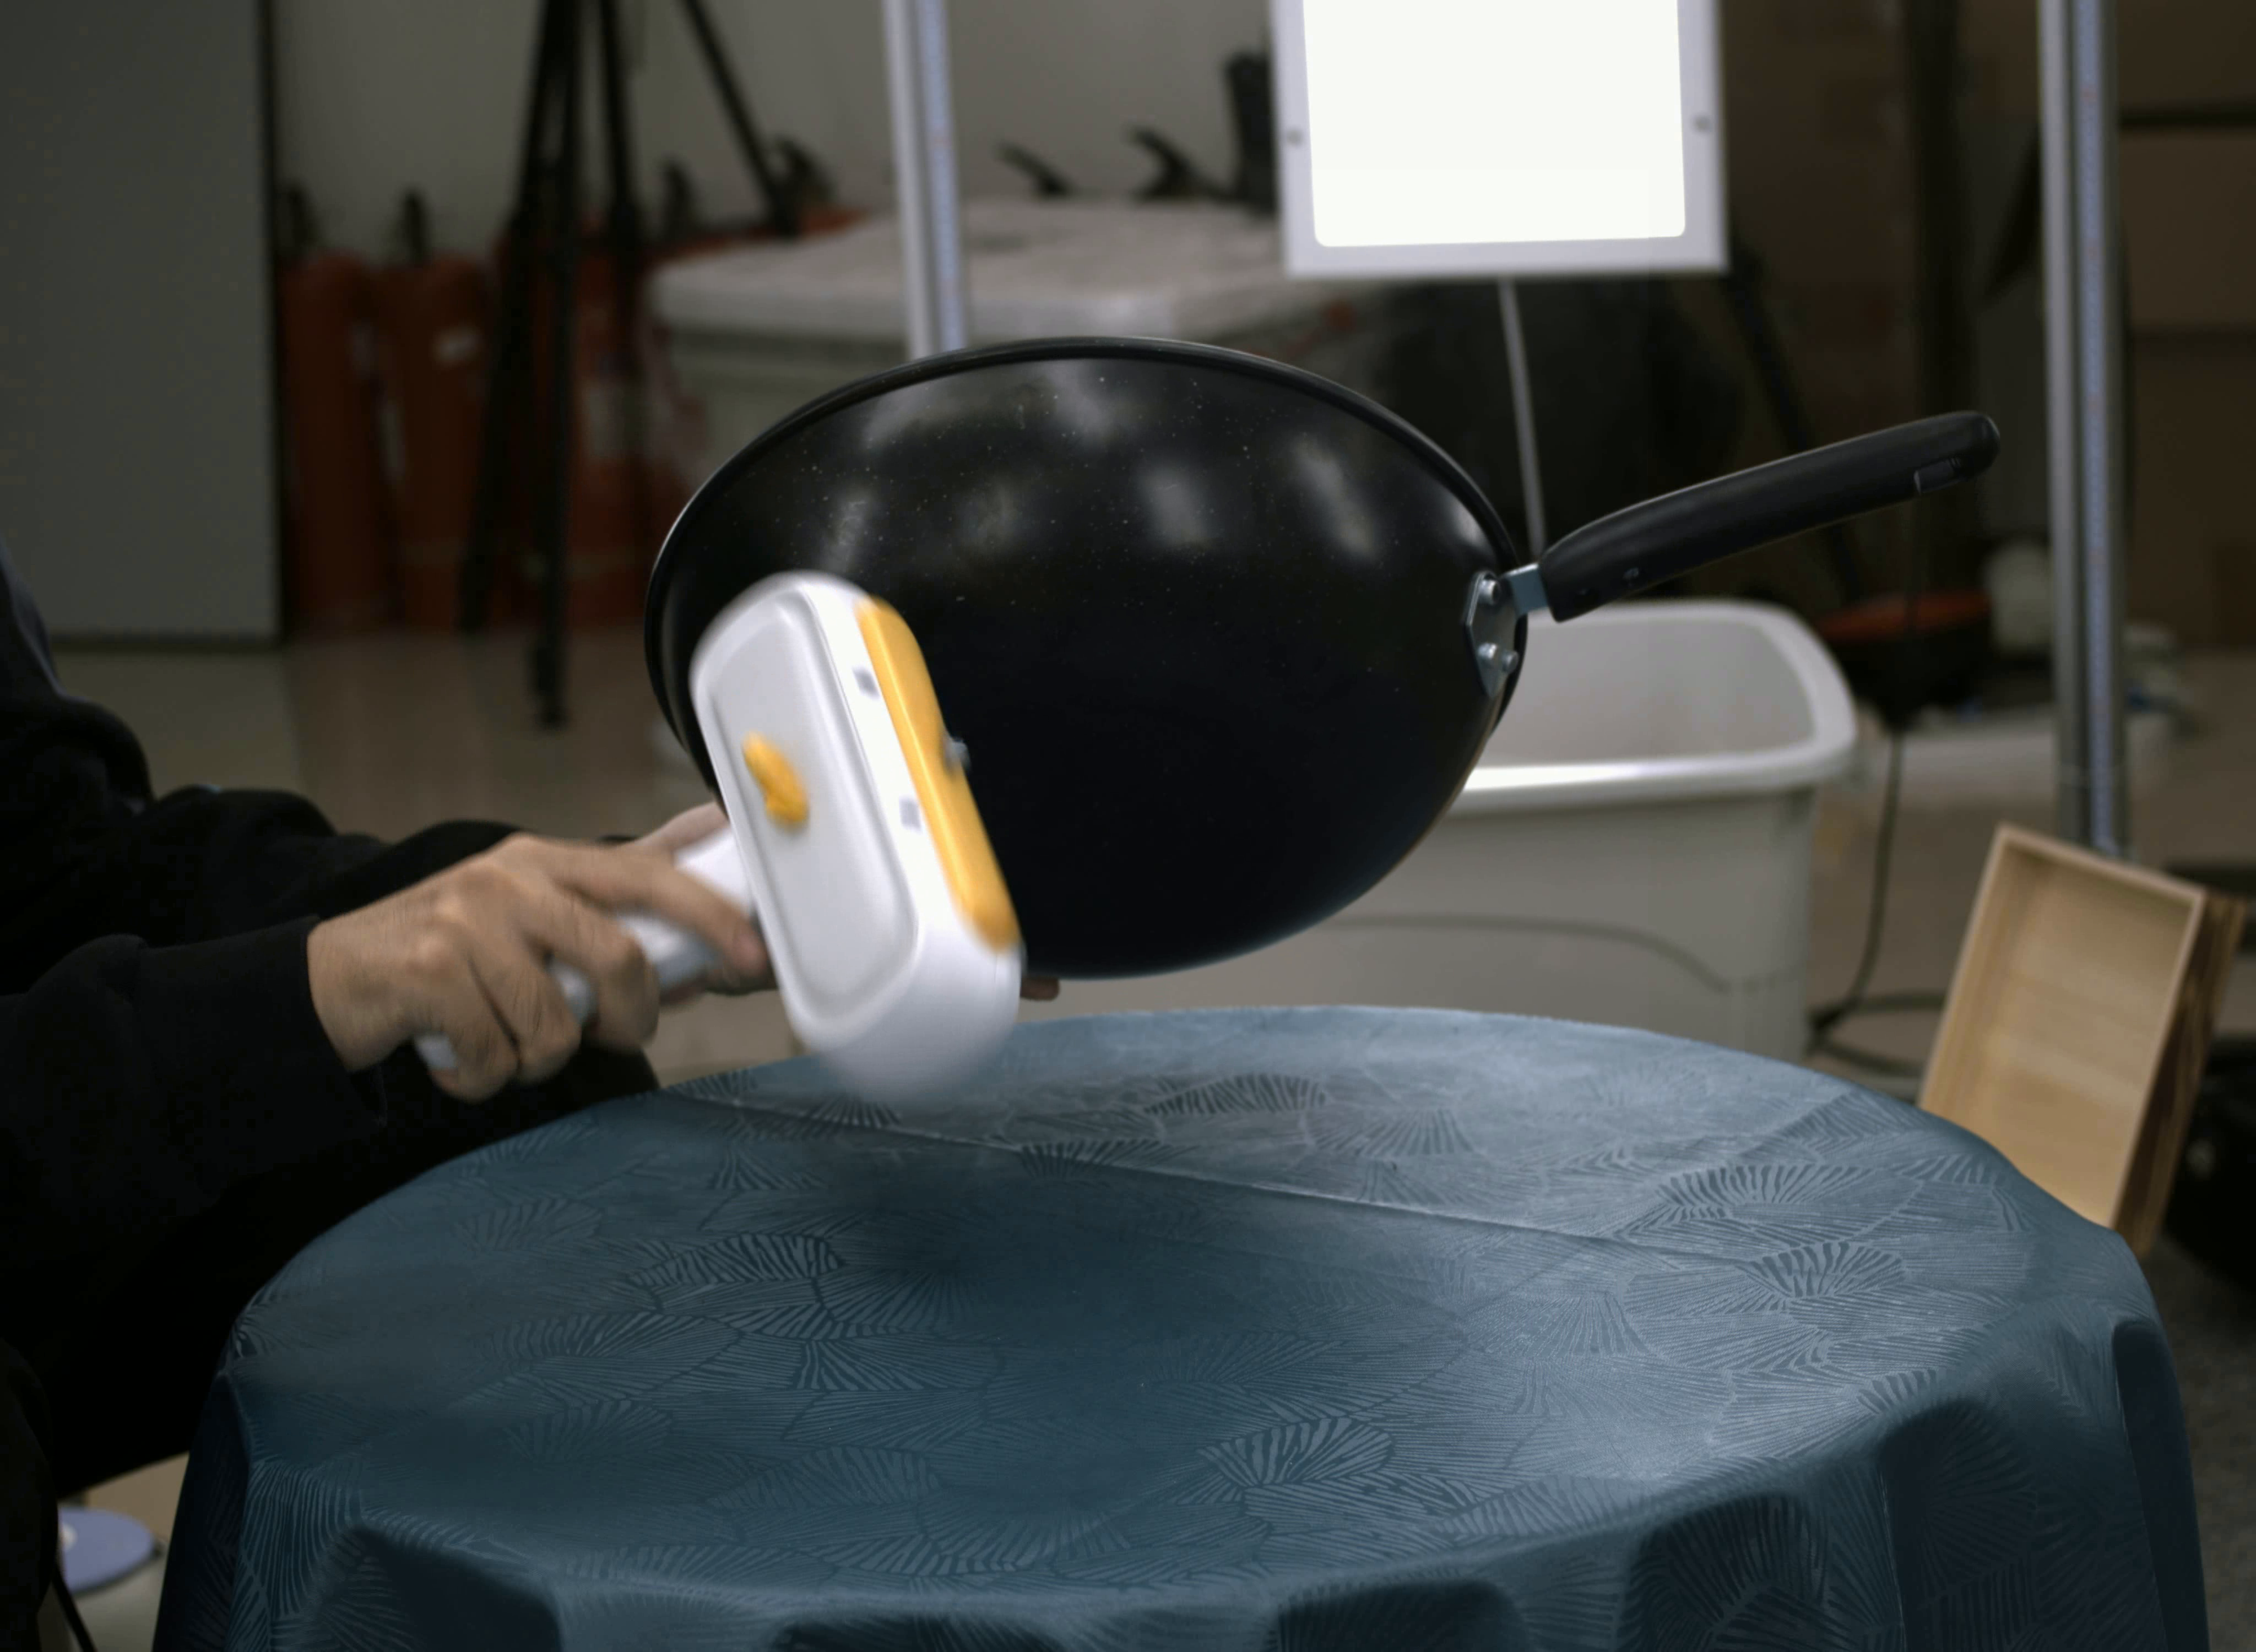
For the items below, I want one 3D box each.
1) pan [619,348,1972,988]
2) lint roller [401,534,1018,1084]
[{"bbox_3d":[0.060,-0.054,1.881,0.480,0.309,0.111,-9,53,11],"label":"pan"},{"bbox_3d":[-0.141,0.019,1.733,0.194,0.073,0.194,-38,52,12],"label":"lint roller"}]
